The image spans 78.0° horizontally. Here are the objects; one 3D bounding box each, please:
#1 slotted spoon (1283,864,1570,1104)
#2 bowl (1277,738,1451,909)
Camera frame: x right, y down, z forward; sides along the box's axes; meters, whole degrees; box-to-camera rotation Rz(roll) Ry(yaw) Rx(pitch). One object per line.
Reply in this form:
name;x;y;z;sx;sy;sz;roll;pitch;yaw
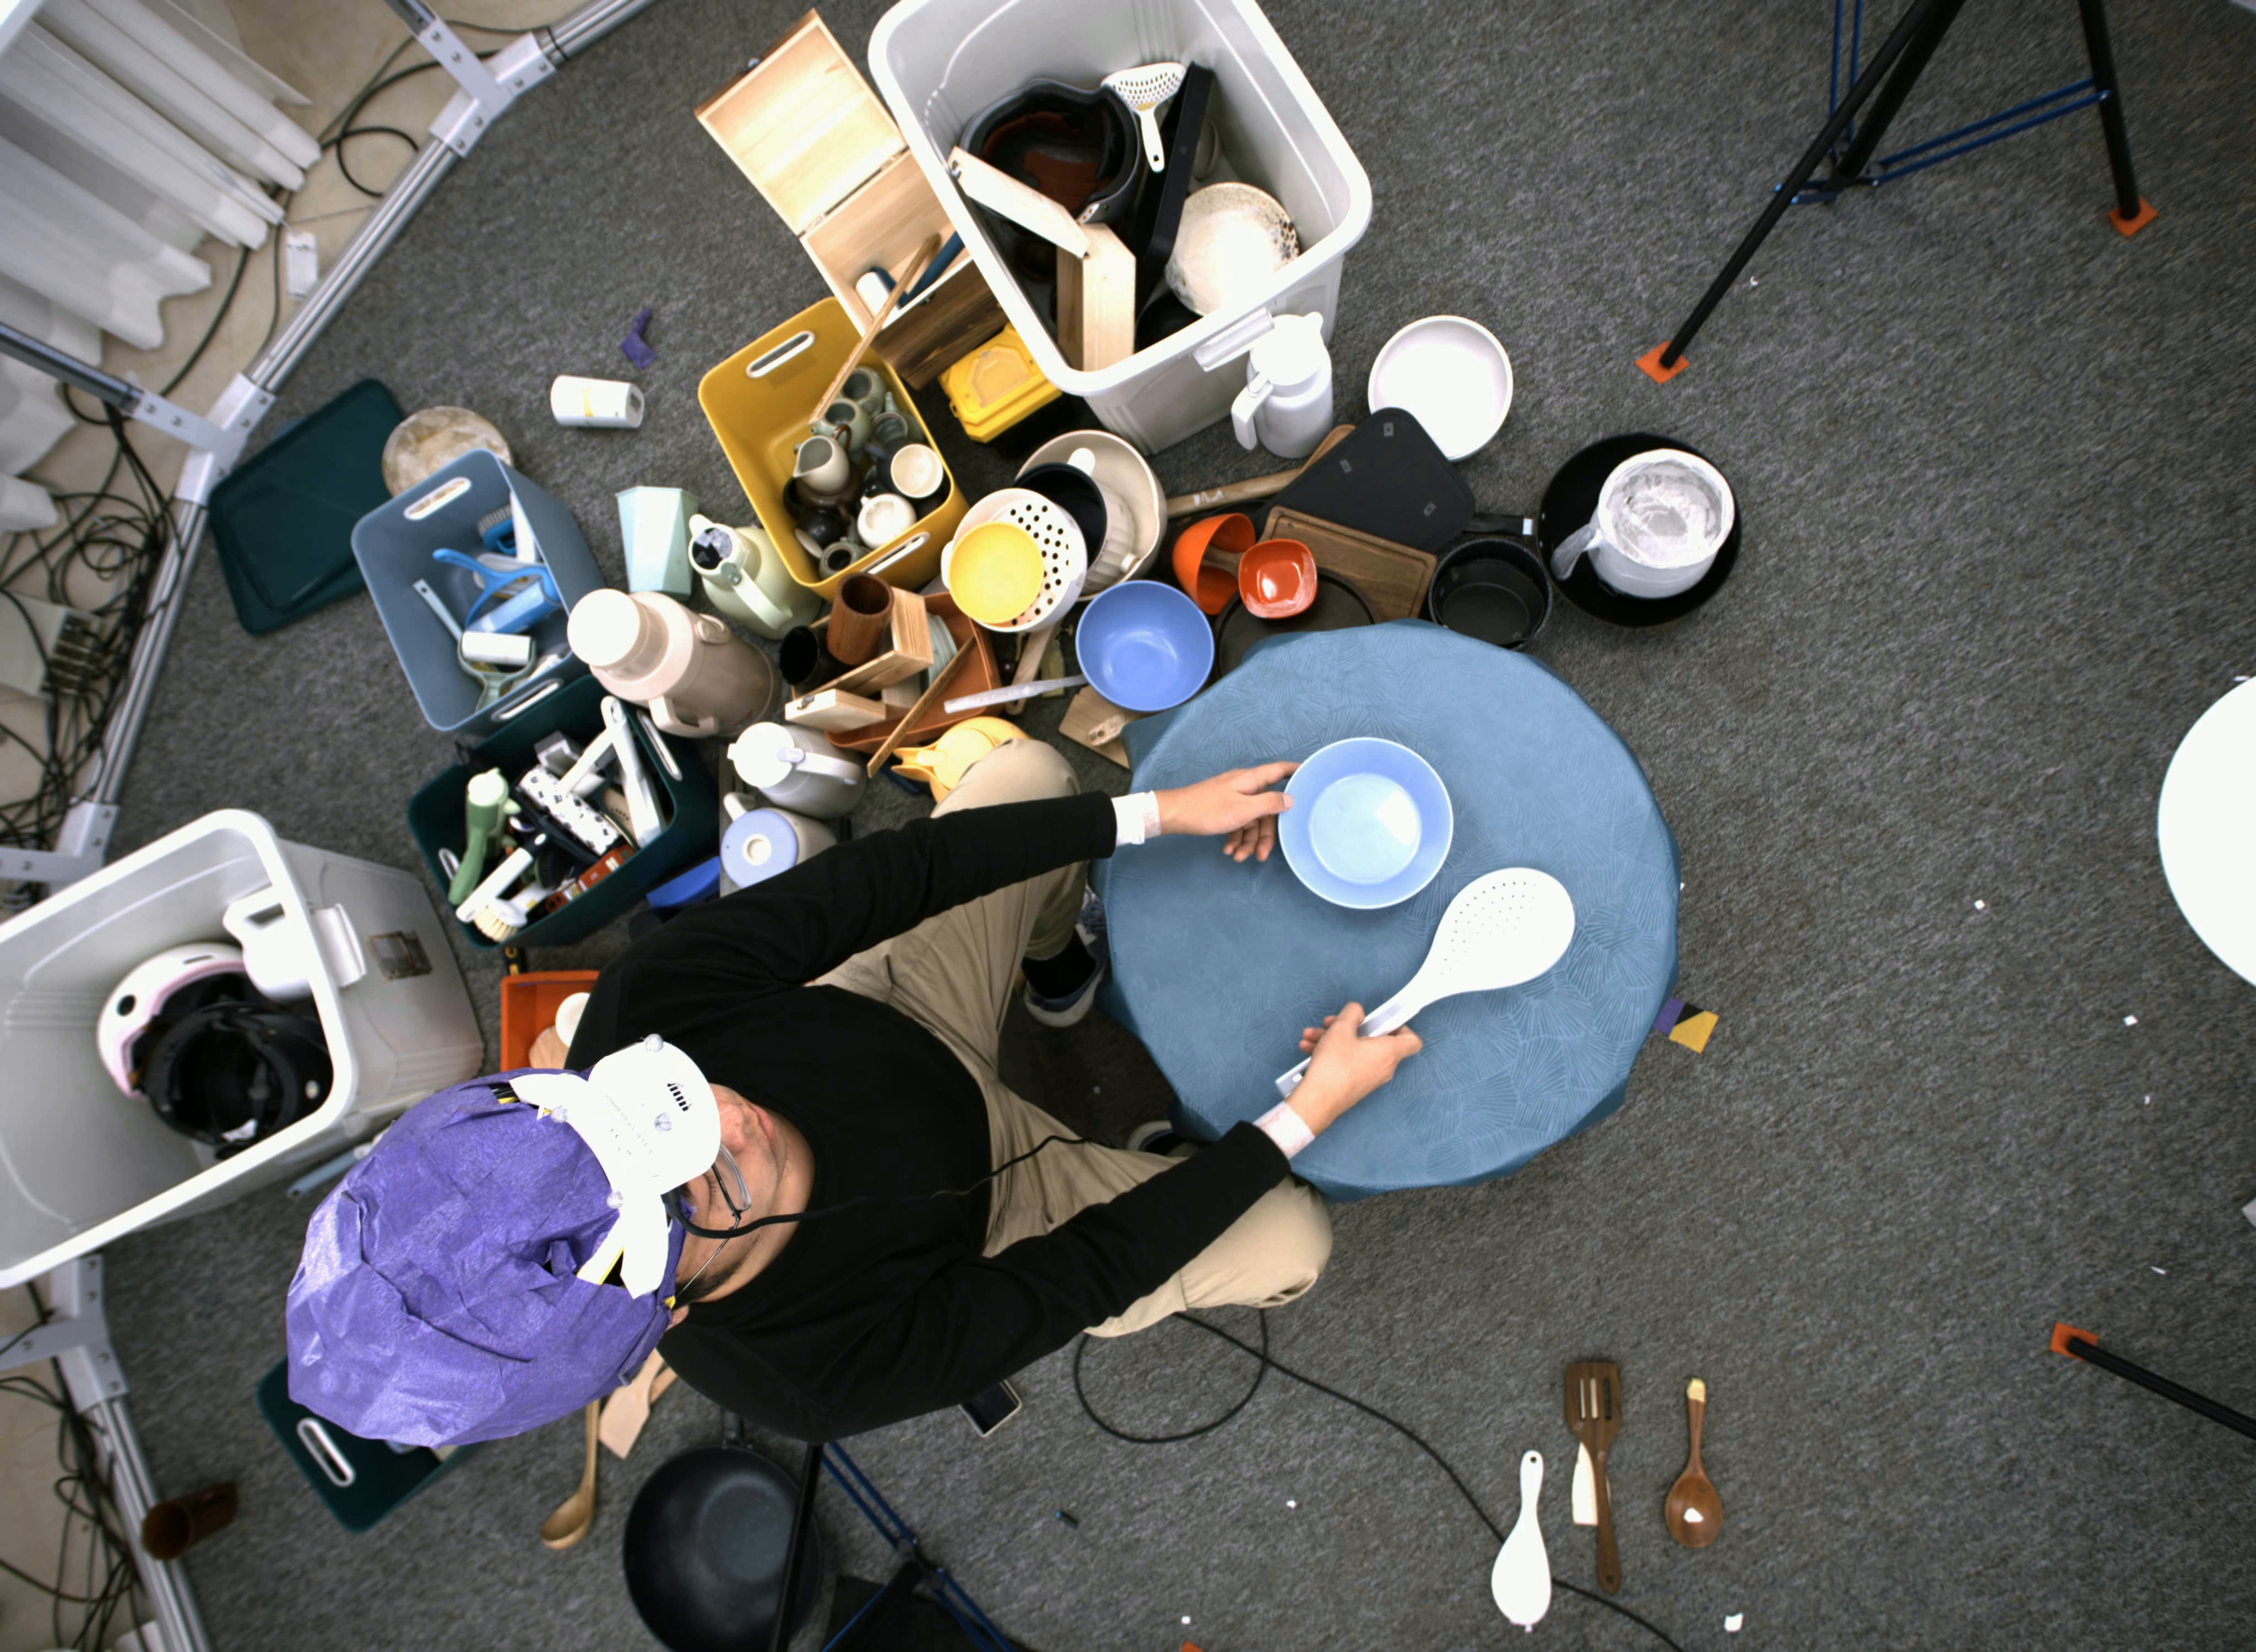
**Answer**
slotted spoon;0.300;0.165;1.401;0.350;0.046;0.133;-36;39;2
bowl;0.245;-0.001;1.434;0.177;0.070;0.175;-1;87;11
